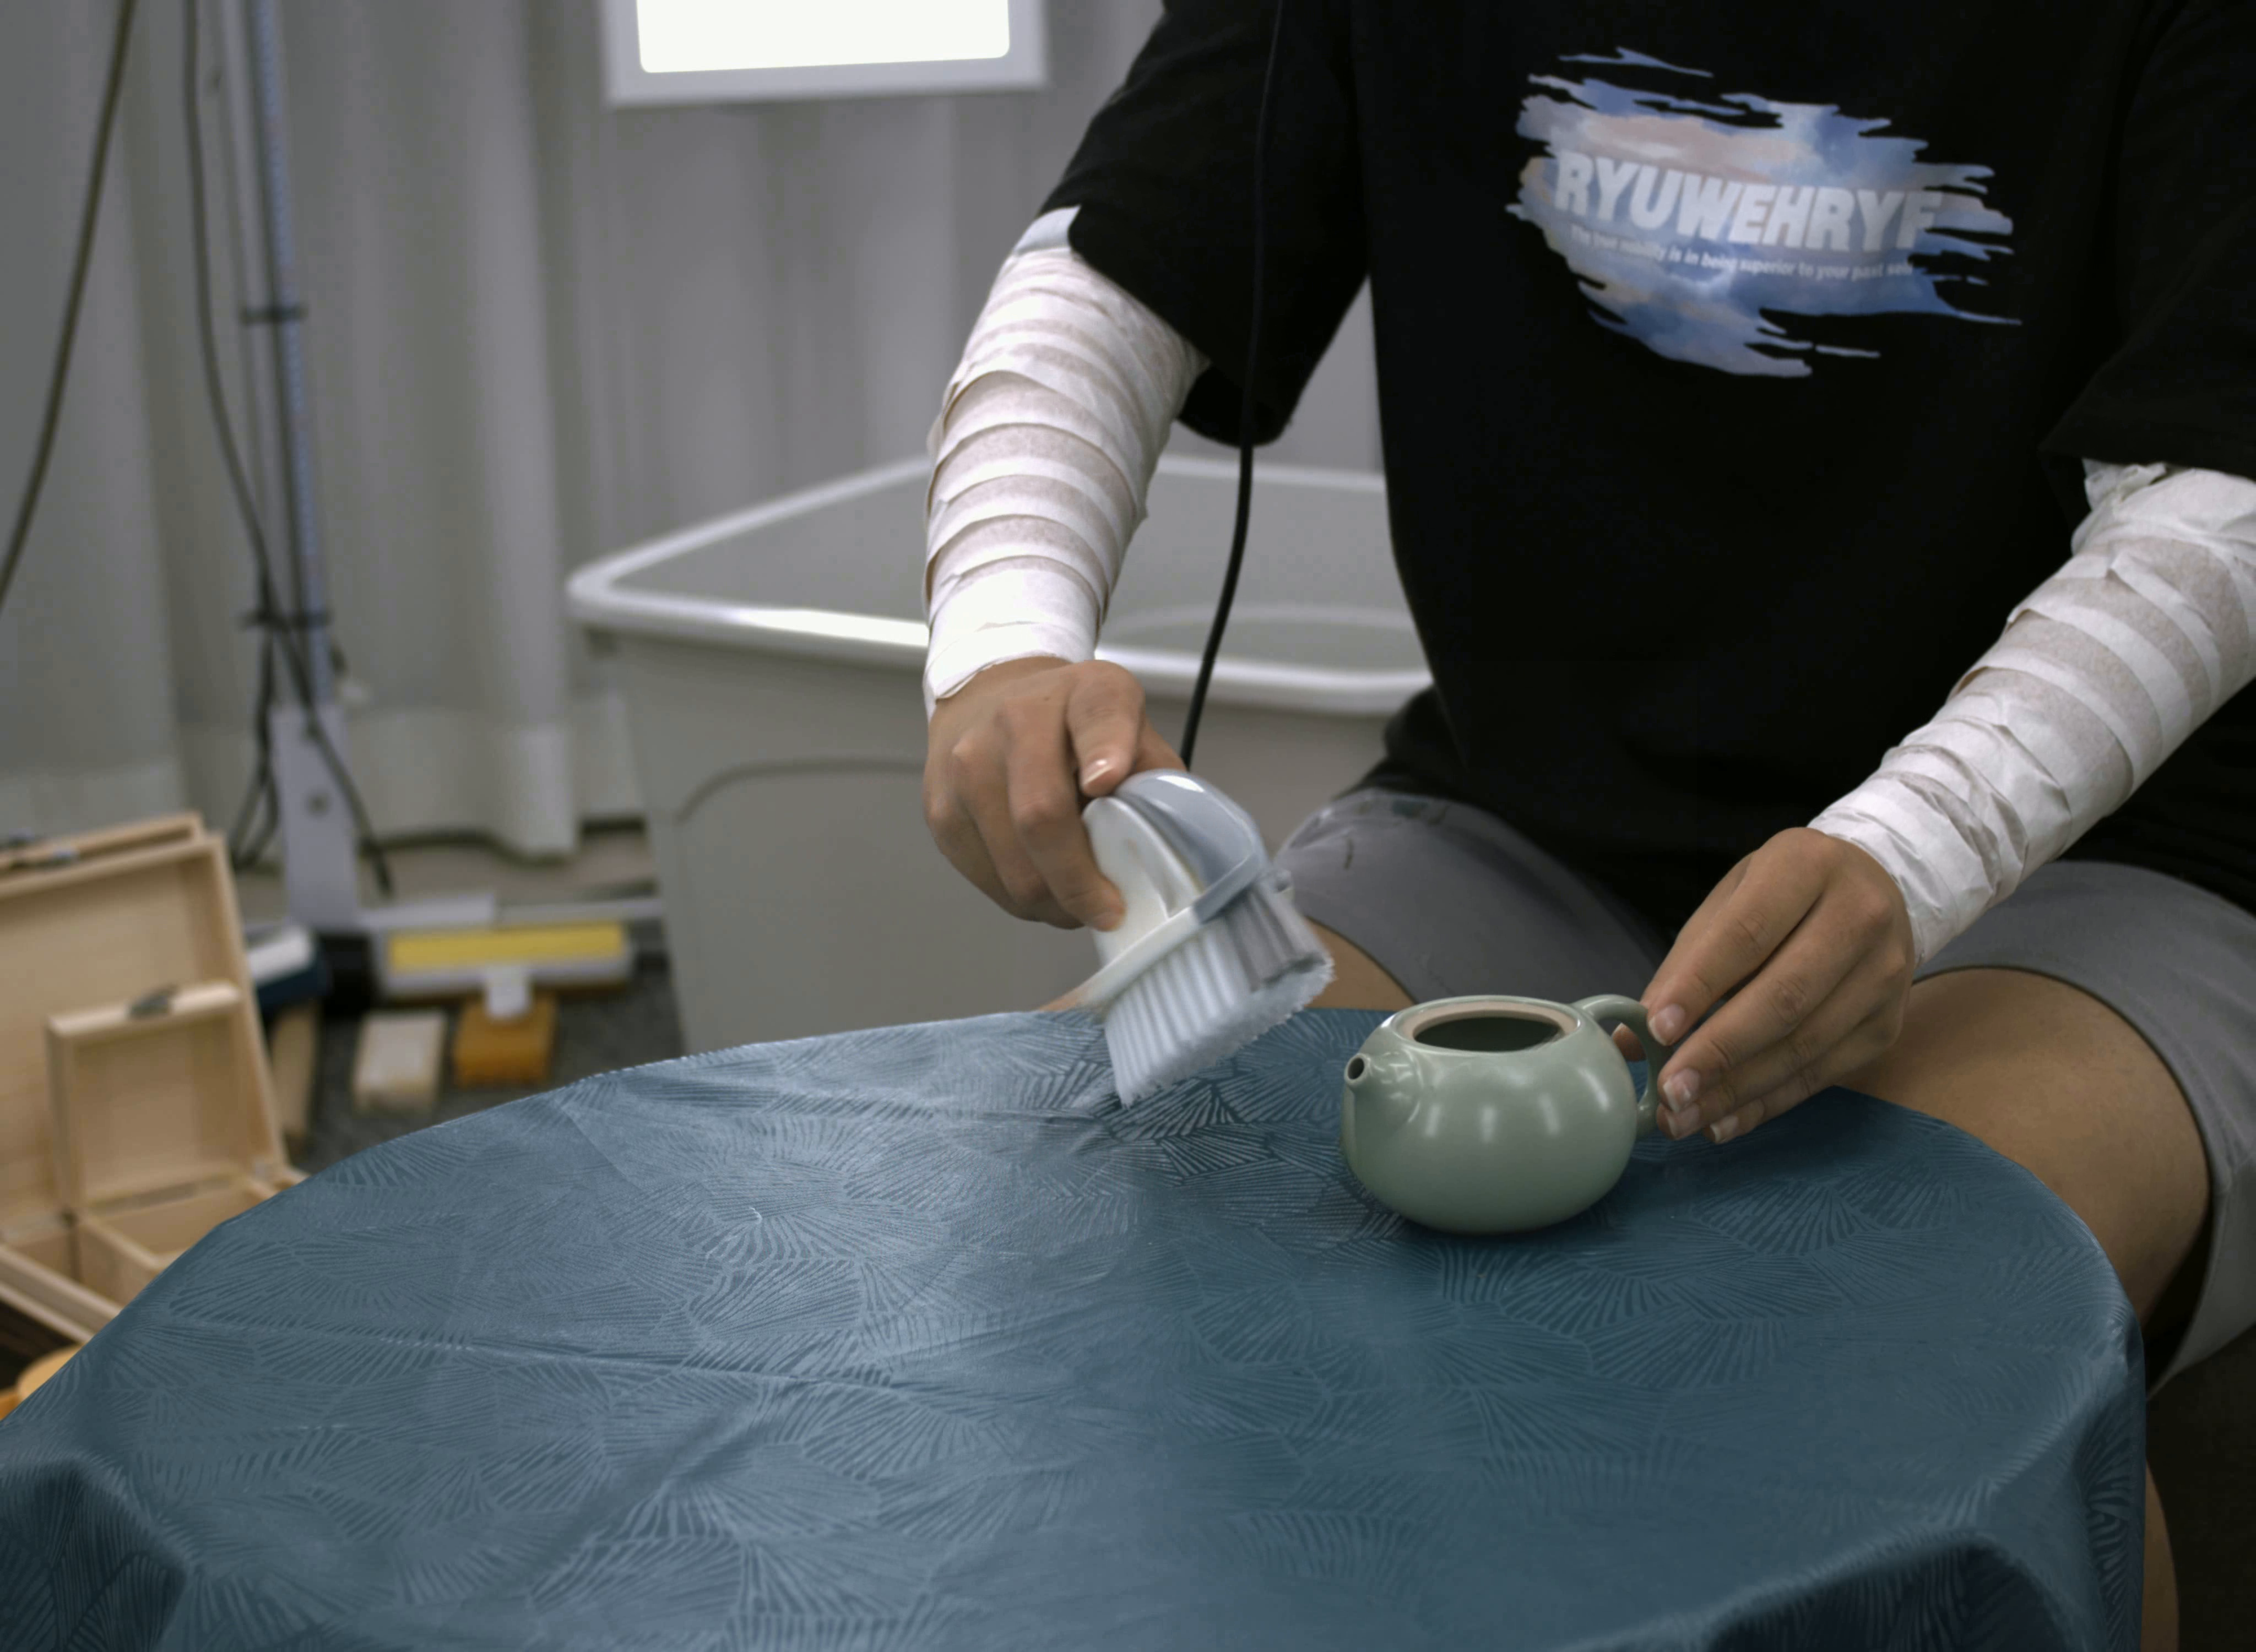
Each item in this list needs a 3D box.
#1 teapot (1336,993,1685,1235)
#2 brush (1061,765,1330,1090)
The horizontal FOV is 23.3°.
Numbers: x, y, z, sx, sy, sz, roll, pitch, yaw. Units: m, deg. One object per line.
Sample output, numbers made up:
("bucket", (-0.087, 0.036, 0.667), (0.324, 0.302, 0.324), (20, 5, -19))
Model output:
("teapot", (0.118, 0.087, 1.678), (0.128, 0.061, 0.092), (-11, 15, -29))
("brush", (0.018, 0.022, 1.708), (0.061, 0.094, 0.175), (-27, -6, -15))
